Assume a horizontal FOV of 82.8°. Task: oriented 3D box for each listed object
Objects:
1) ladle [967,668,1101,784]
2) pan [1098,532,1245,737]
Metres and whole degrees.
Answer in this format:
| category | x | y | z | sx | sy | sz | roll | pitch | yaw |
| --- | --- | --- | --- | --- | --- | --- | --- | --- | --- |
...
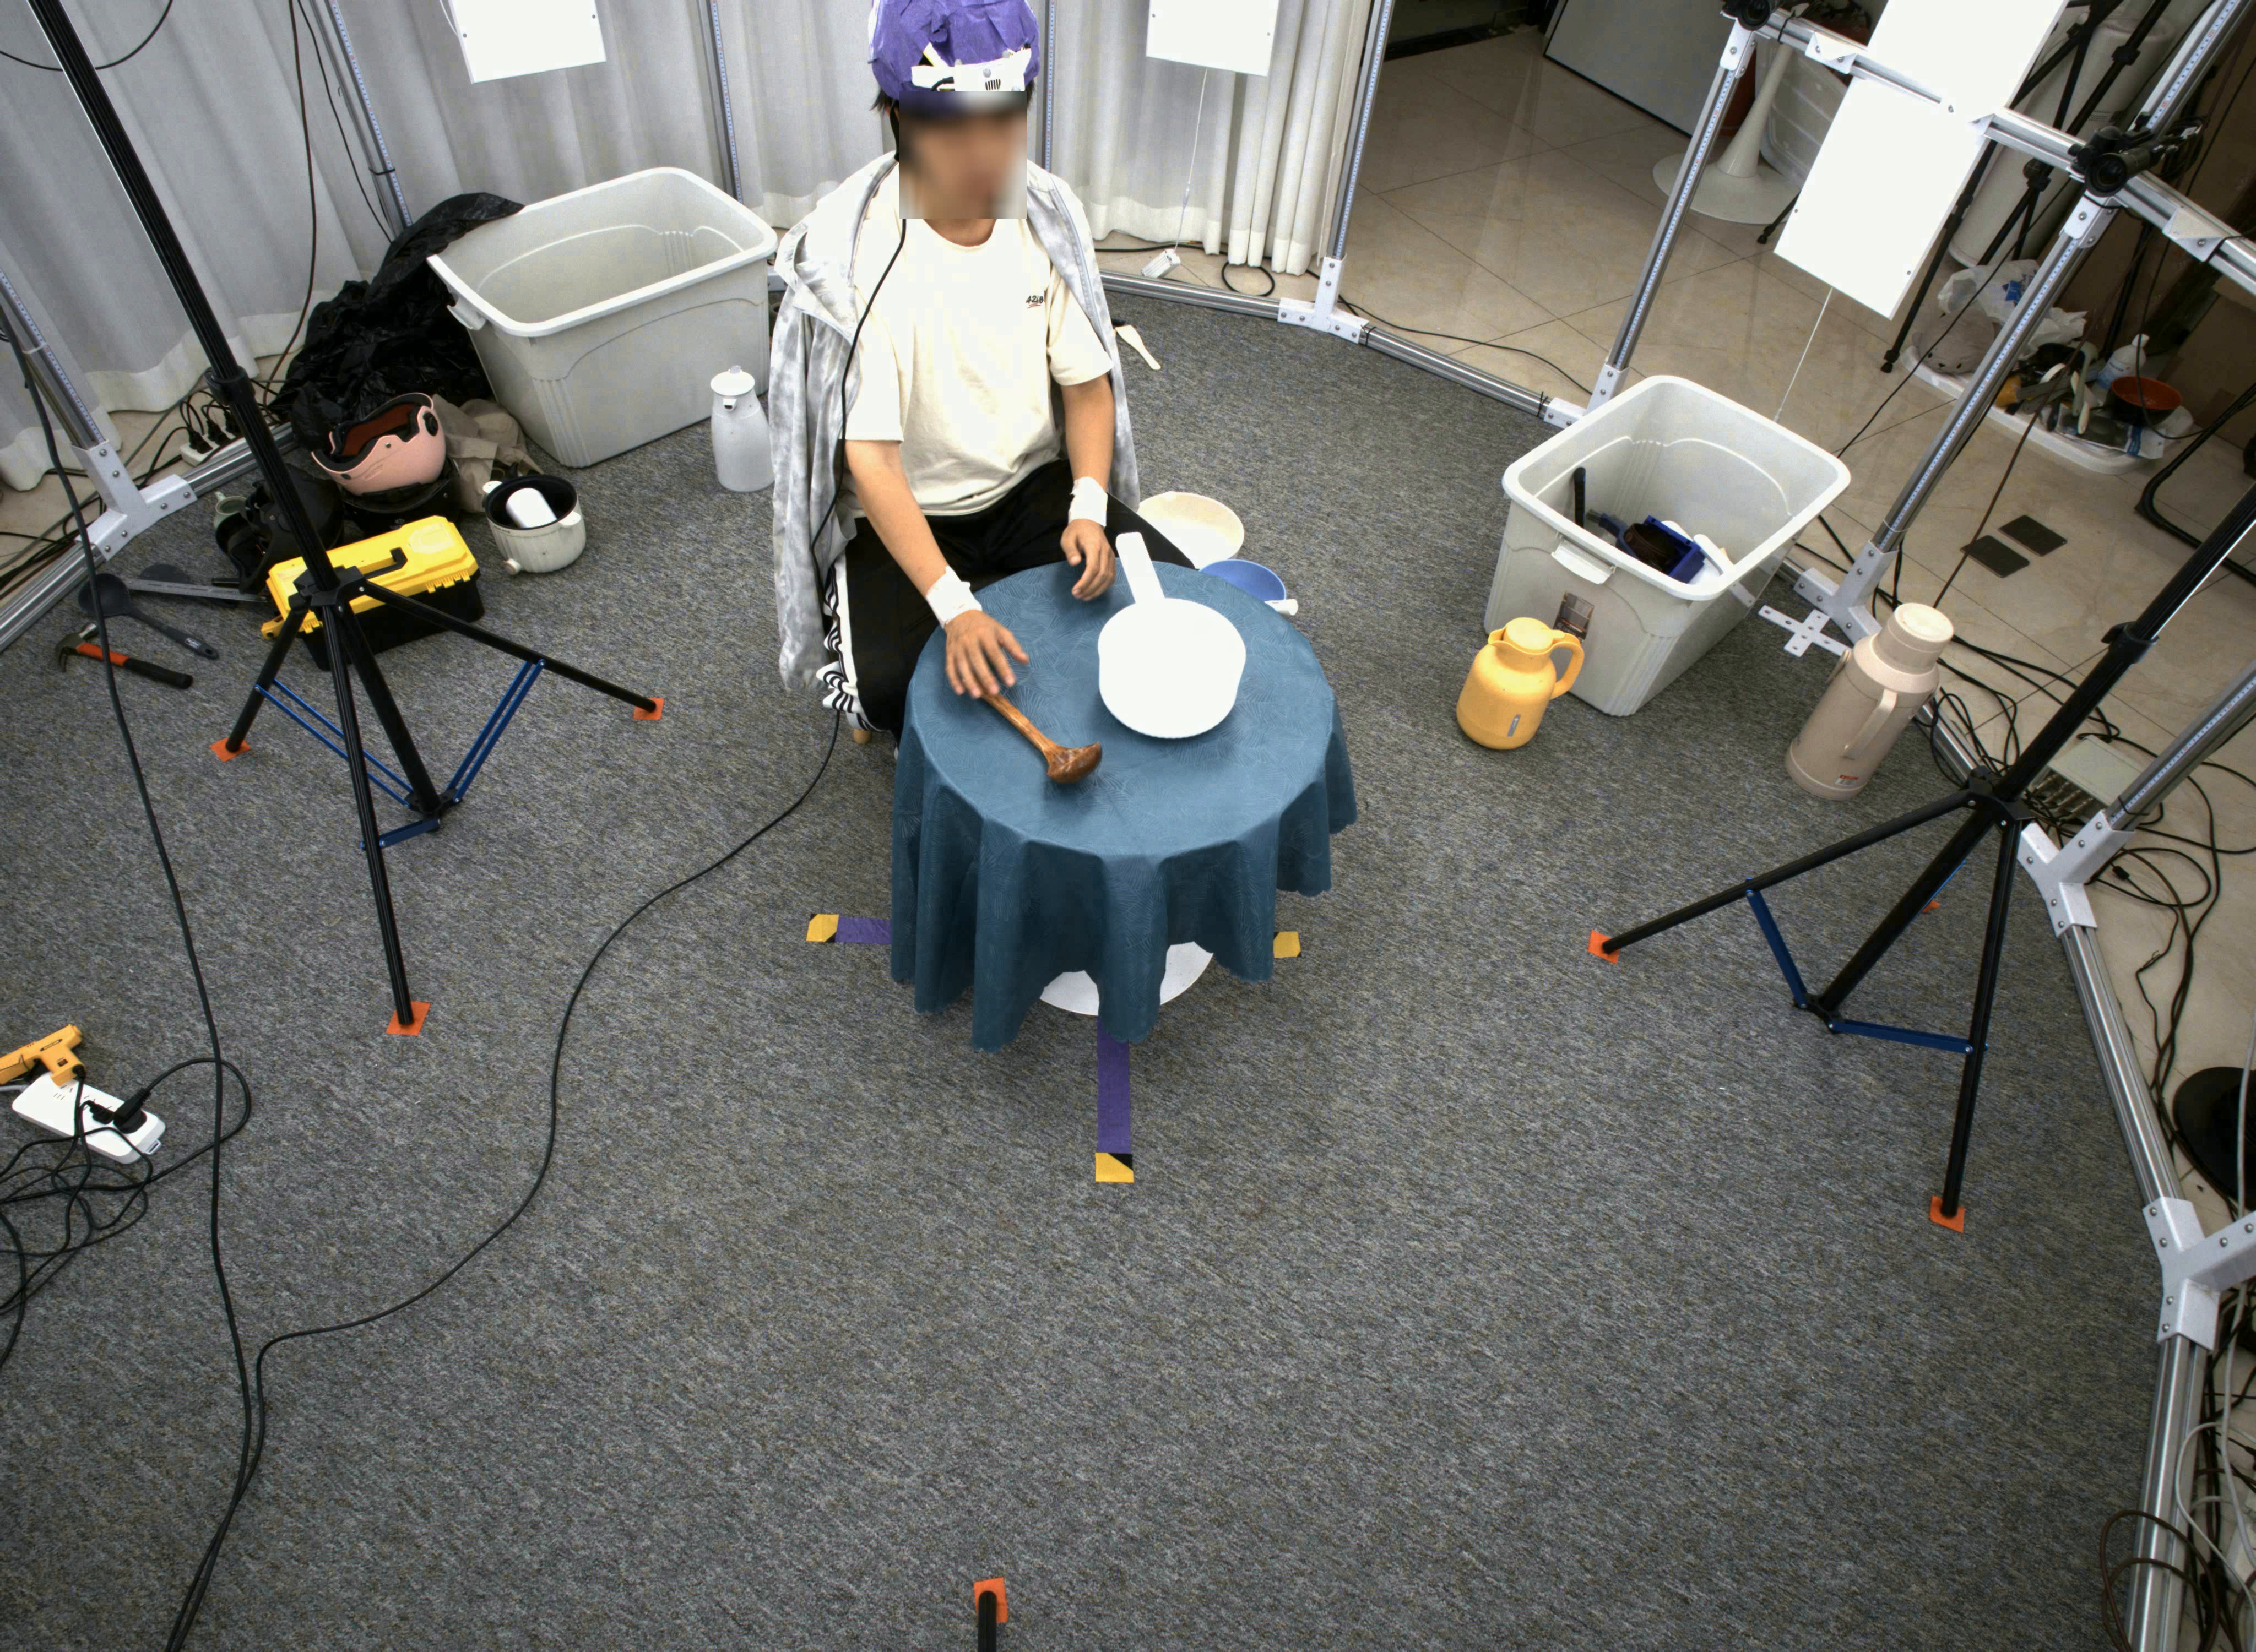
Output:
| category | x | y | z | sx | sy | sz | roll | pitch | yaw |
| --- | --- | --- | --- | --- | --- | --- | --- | --- | --- |
| ladle | -0.138 | -0.150 | 1.730 | 0.082 | 0.075 | 0.279 | -31 | 58 | -24 |
| pan | 0.041 | -0.274 | 1.838 | 0.201 | 0.099 | 0.364 | -8 | 49 | -10 |
